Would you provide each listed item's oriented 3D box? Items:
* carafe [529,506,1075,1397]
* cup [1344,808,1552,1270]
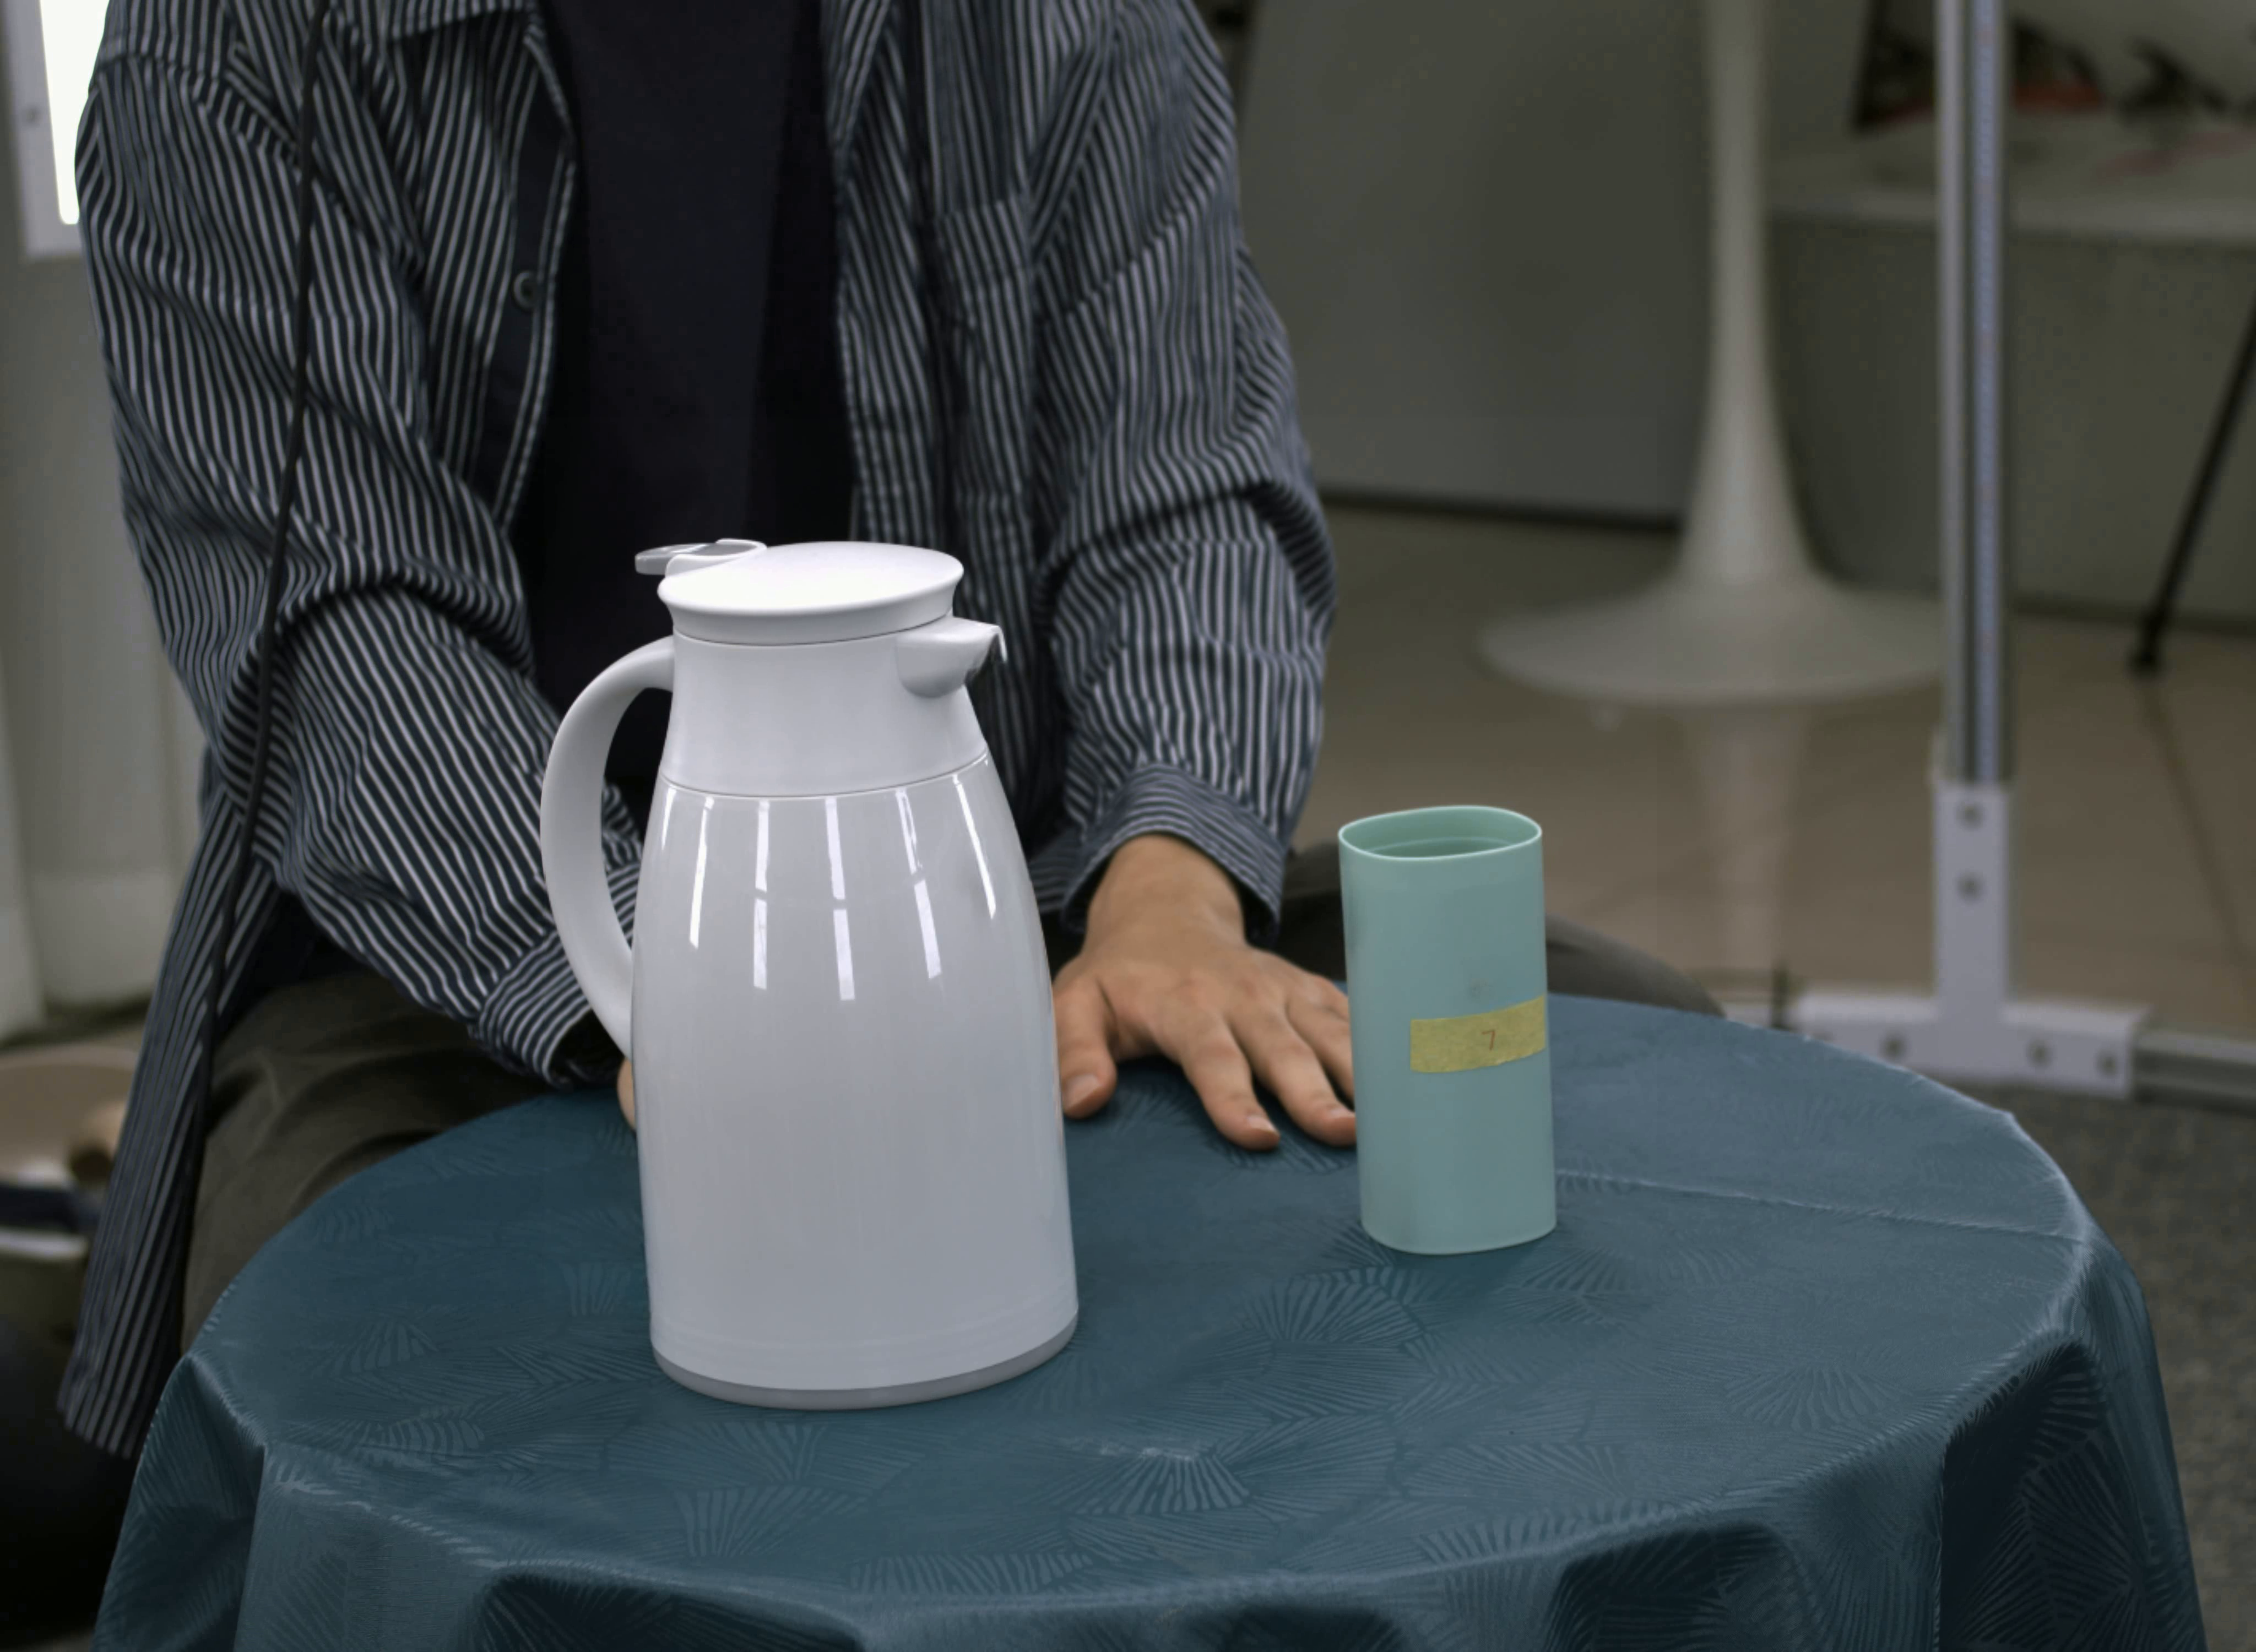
[{"bbox_3d":[-0.105,0.030,1.627,0.168,0.251,0.130,3,15,30],"label":"carafe"},{"bbox_3d":[0.101,0.066,1.697,0.066,0.134,0.067,-3,15,0],"label":"cup"}]
